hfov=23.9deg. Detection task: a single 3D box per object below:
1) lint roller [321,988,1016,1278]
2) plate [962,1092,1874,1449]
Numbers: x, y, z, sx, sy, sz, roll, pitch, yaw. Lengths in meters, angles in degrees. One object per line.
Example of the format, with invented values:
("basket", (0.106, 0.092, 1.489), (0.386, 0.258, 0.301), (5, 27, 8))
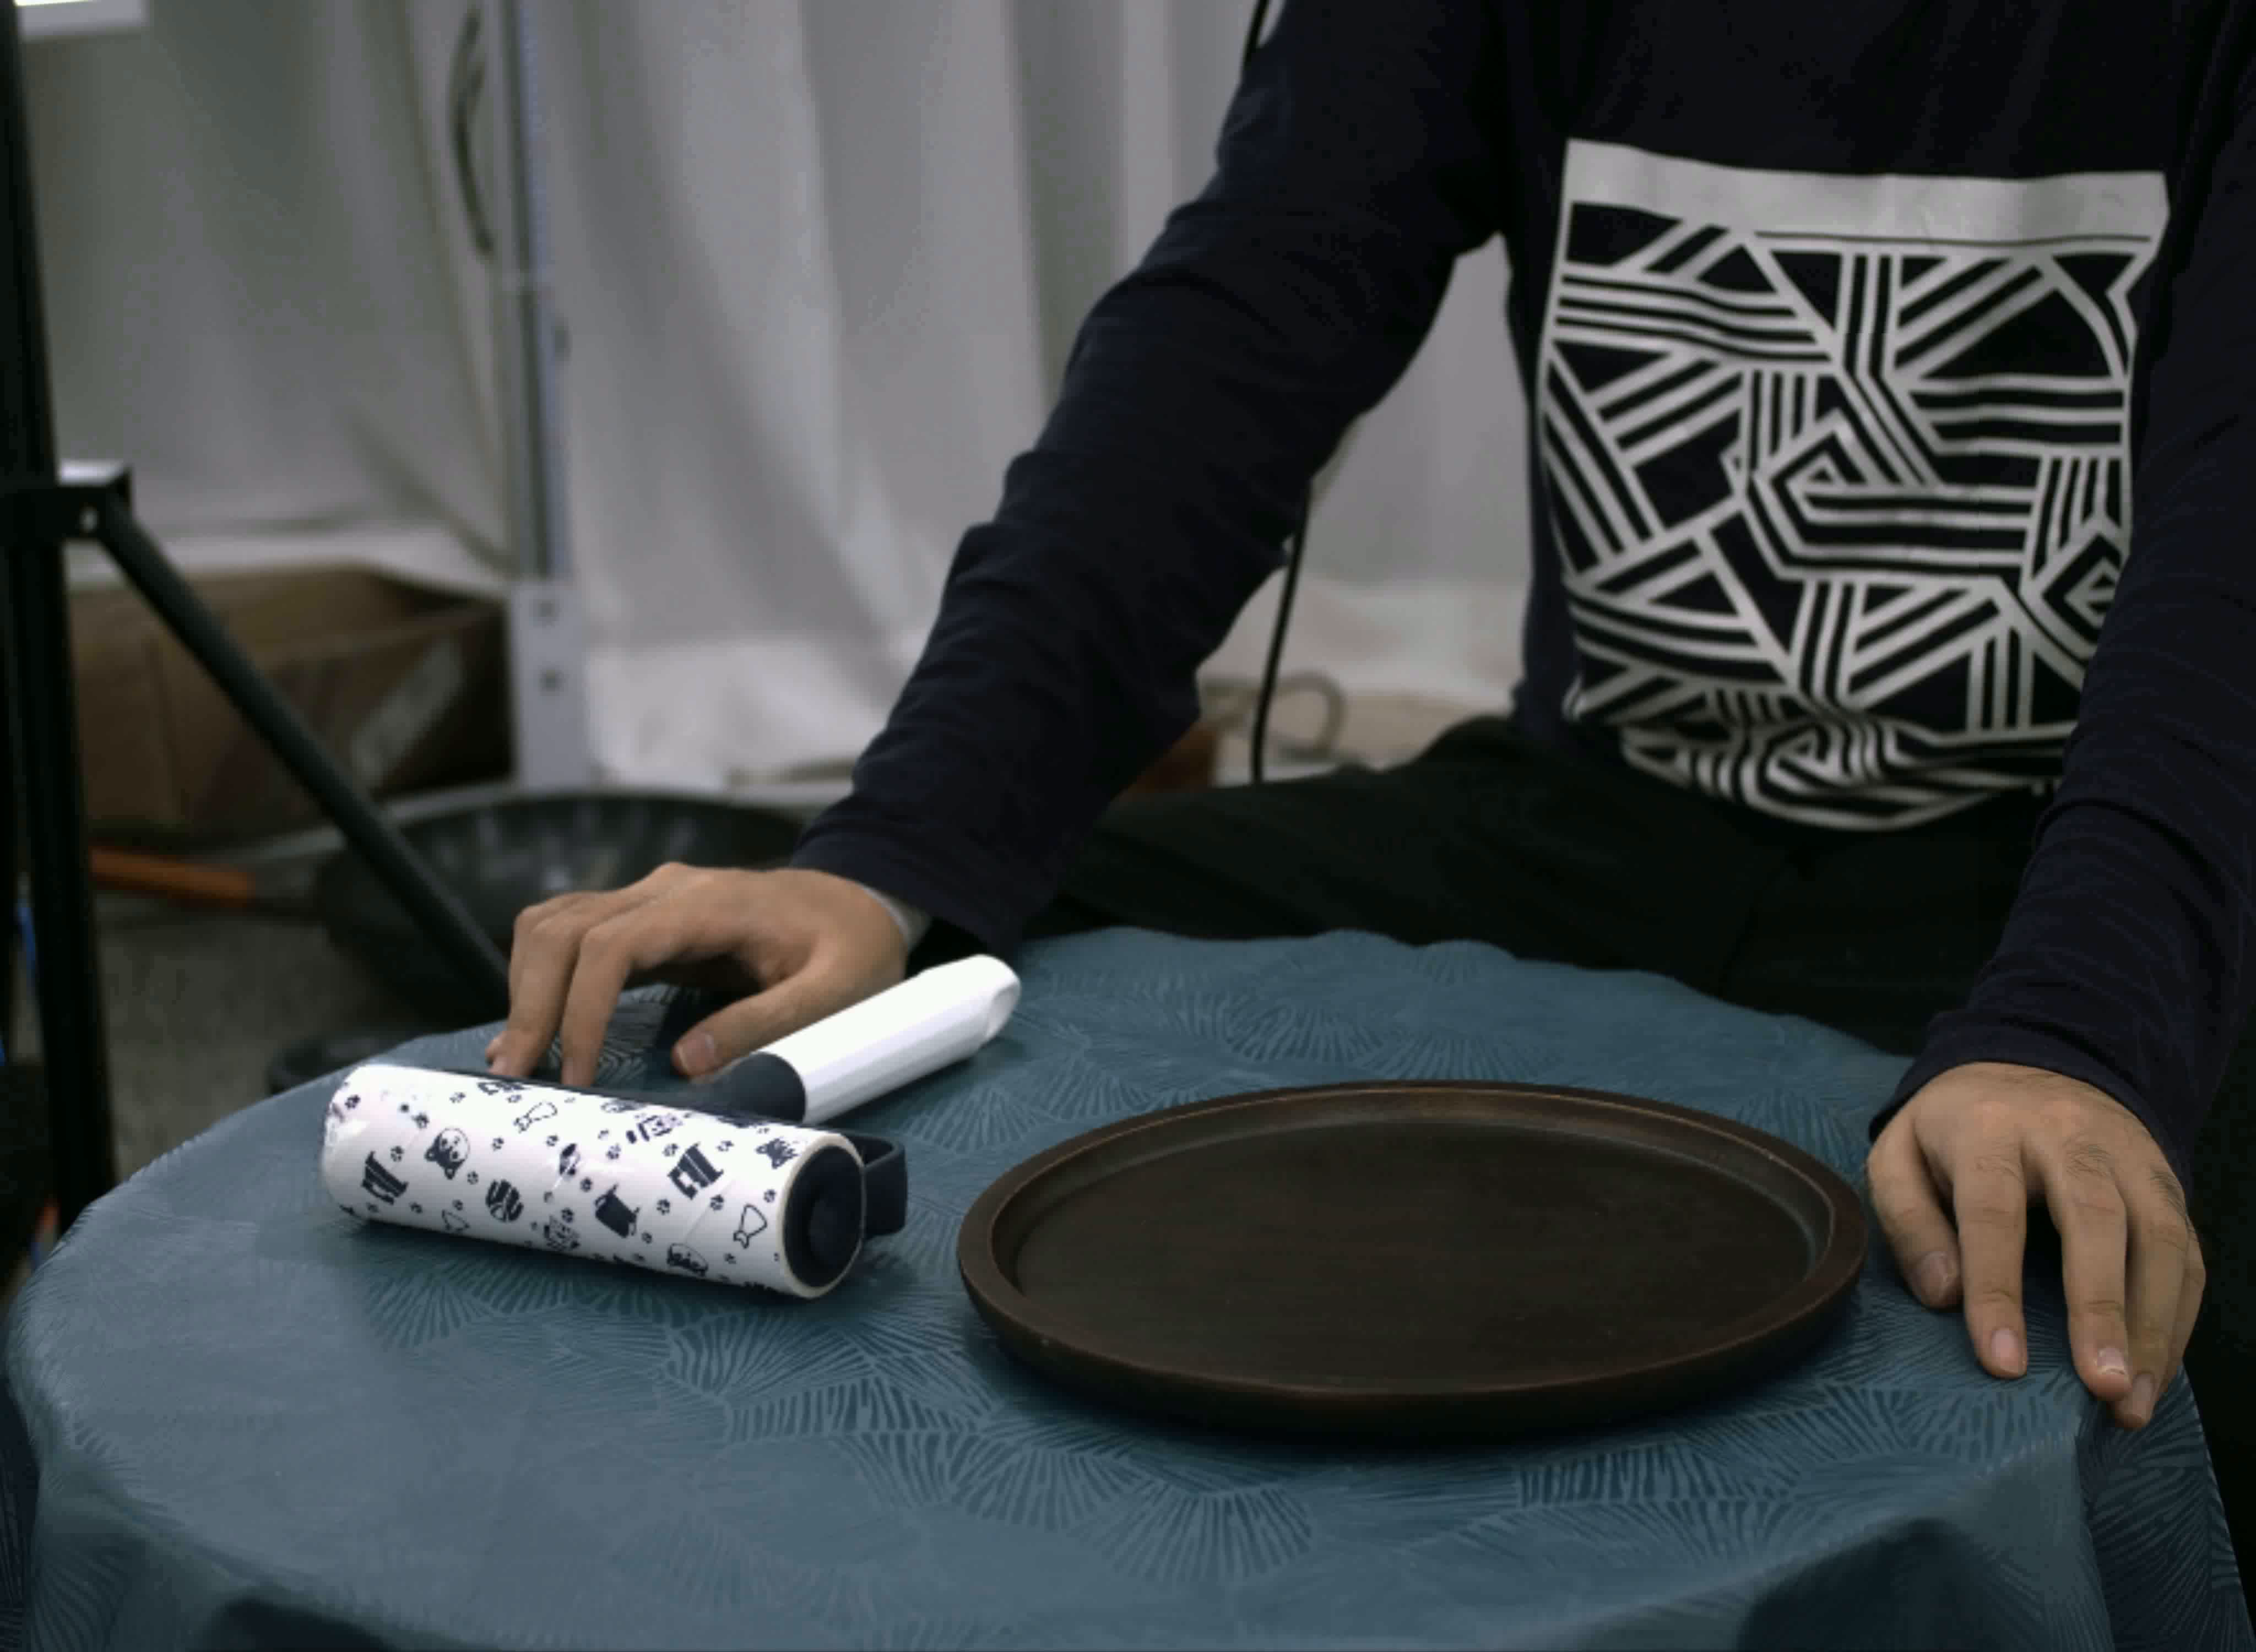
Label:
("lint roller", (-0.105, 0.078, 1.612), (0.179, 0.050, 0.242), (6, 14, 30))
("plate", (0.080, 0.120, 1.467), (0.253, 0.029, 0.256), (-2, 14, -1))
